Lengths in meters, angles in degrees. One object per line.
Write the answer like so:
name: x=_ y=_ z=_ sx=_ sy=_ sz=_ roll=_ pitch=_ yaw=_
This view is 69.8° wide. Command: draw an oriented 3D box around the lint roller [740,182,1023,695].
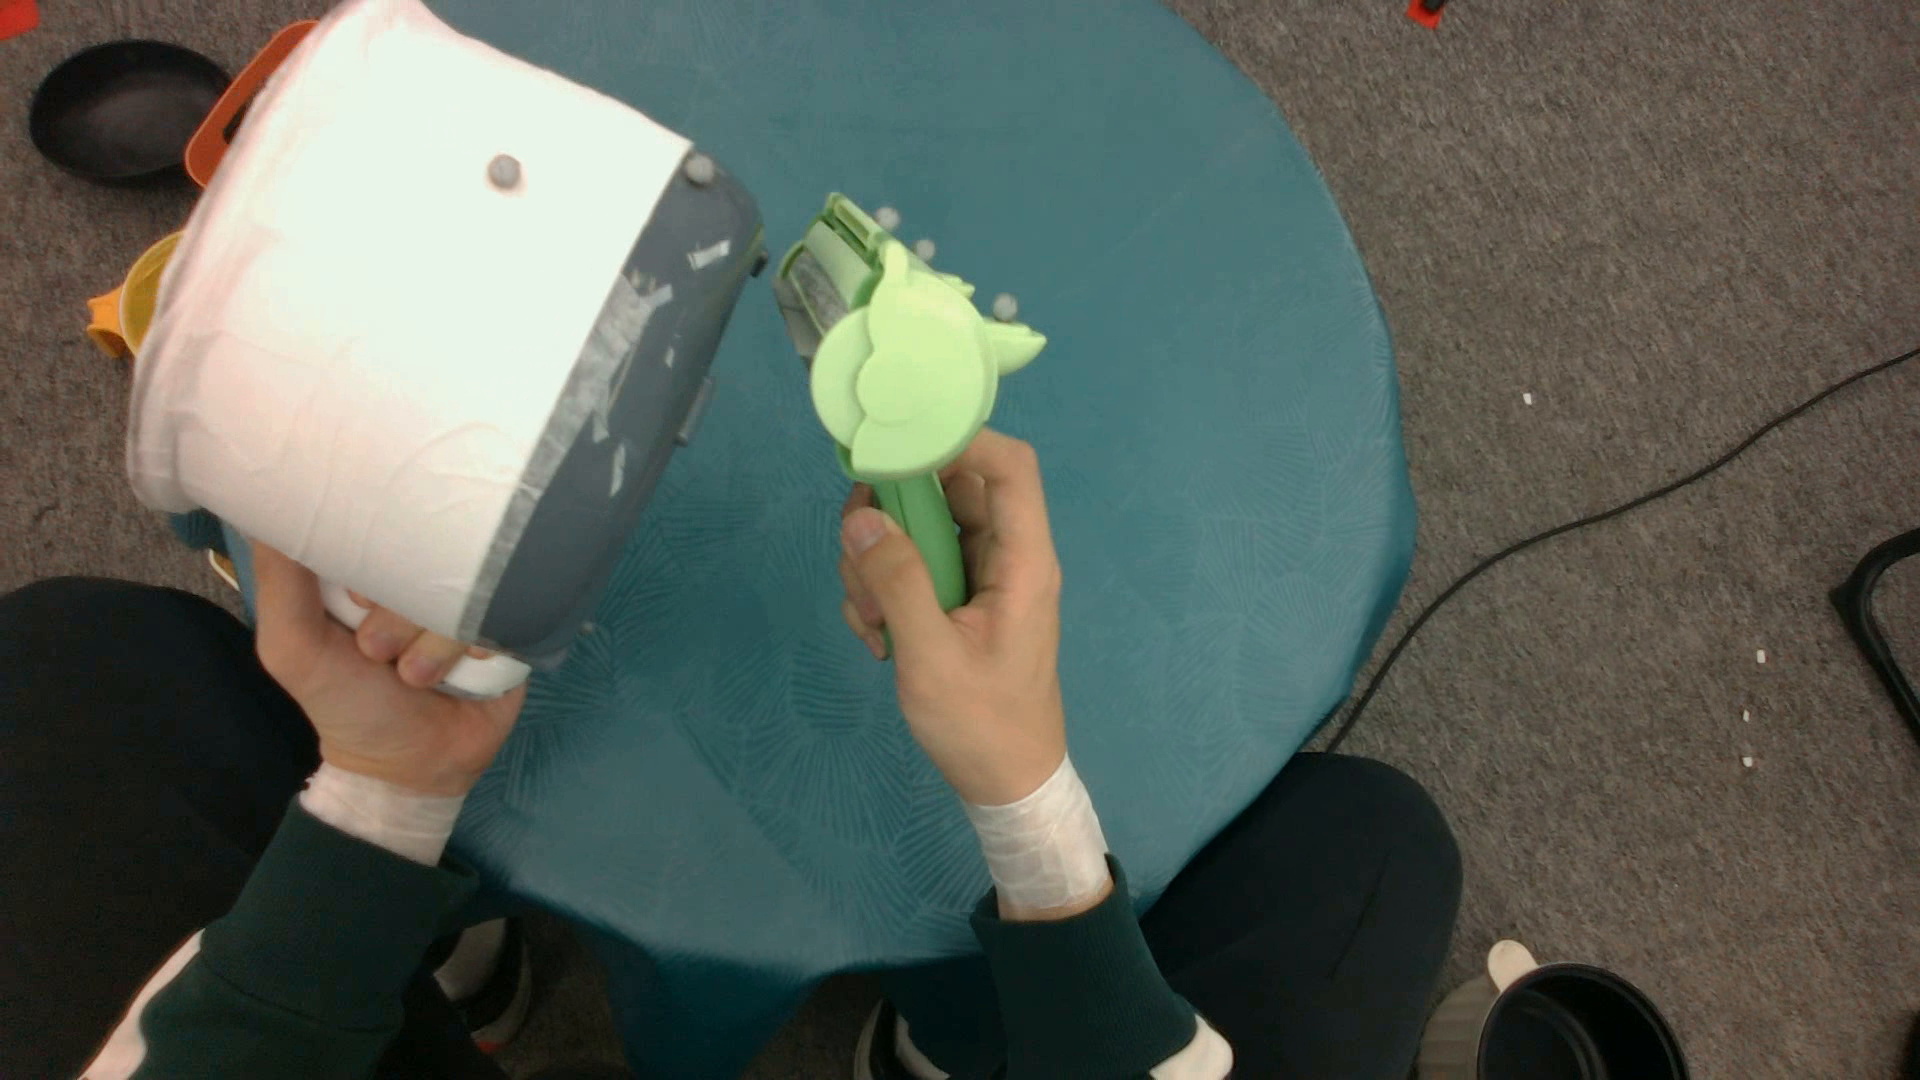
lint roller: x=-0.014 y=-0.034 z=0.490 sx=0.082 sy=0.199 sz=0.183 roll=-25 pitch=111 yaw=-4

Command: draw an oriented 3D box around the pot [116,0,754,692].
pot: x=-0.172 y=-0.044 z=0.461 sx=0.136 sy=0.232 sz=0.179 roll=26 pitch=33 yaw=-15
